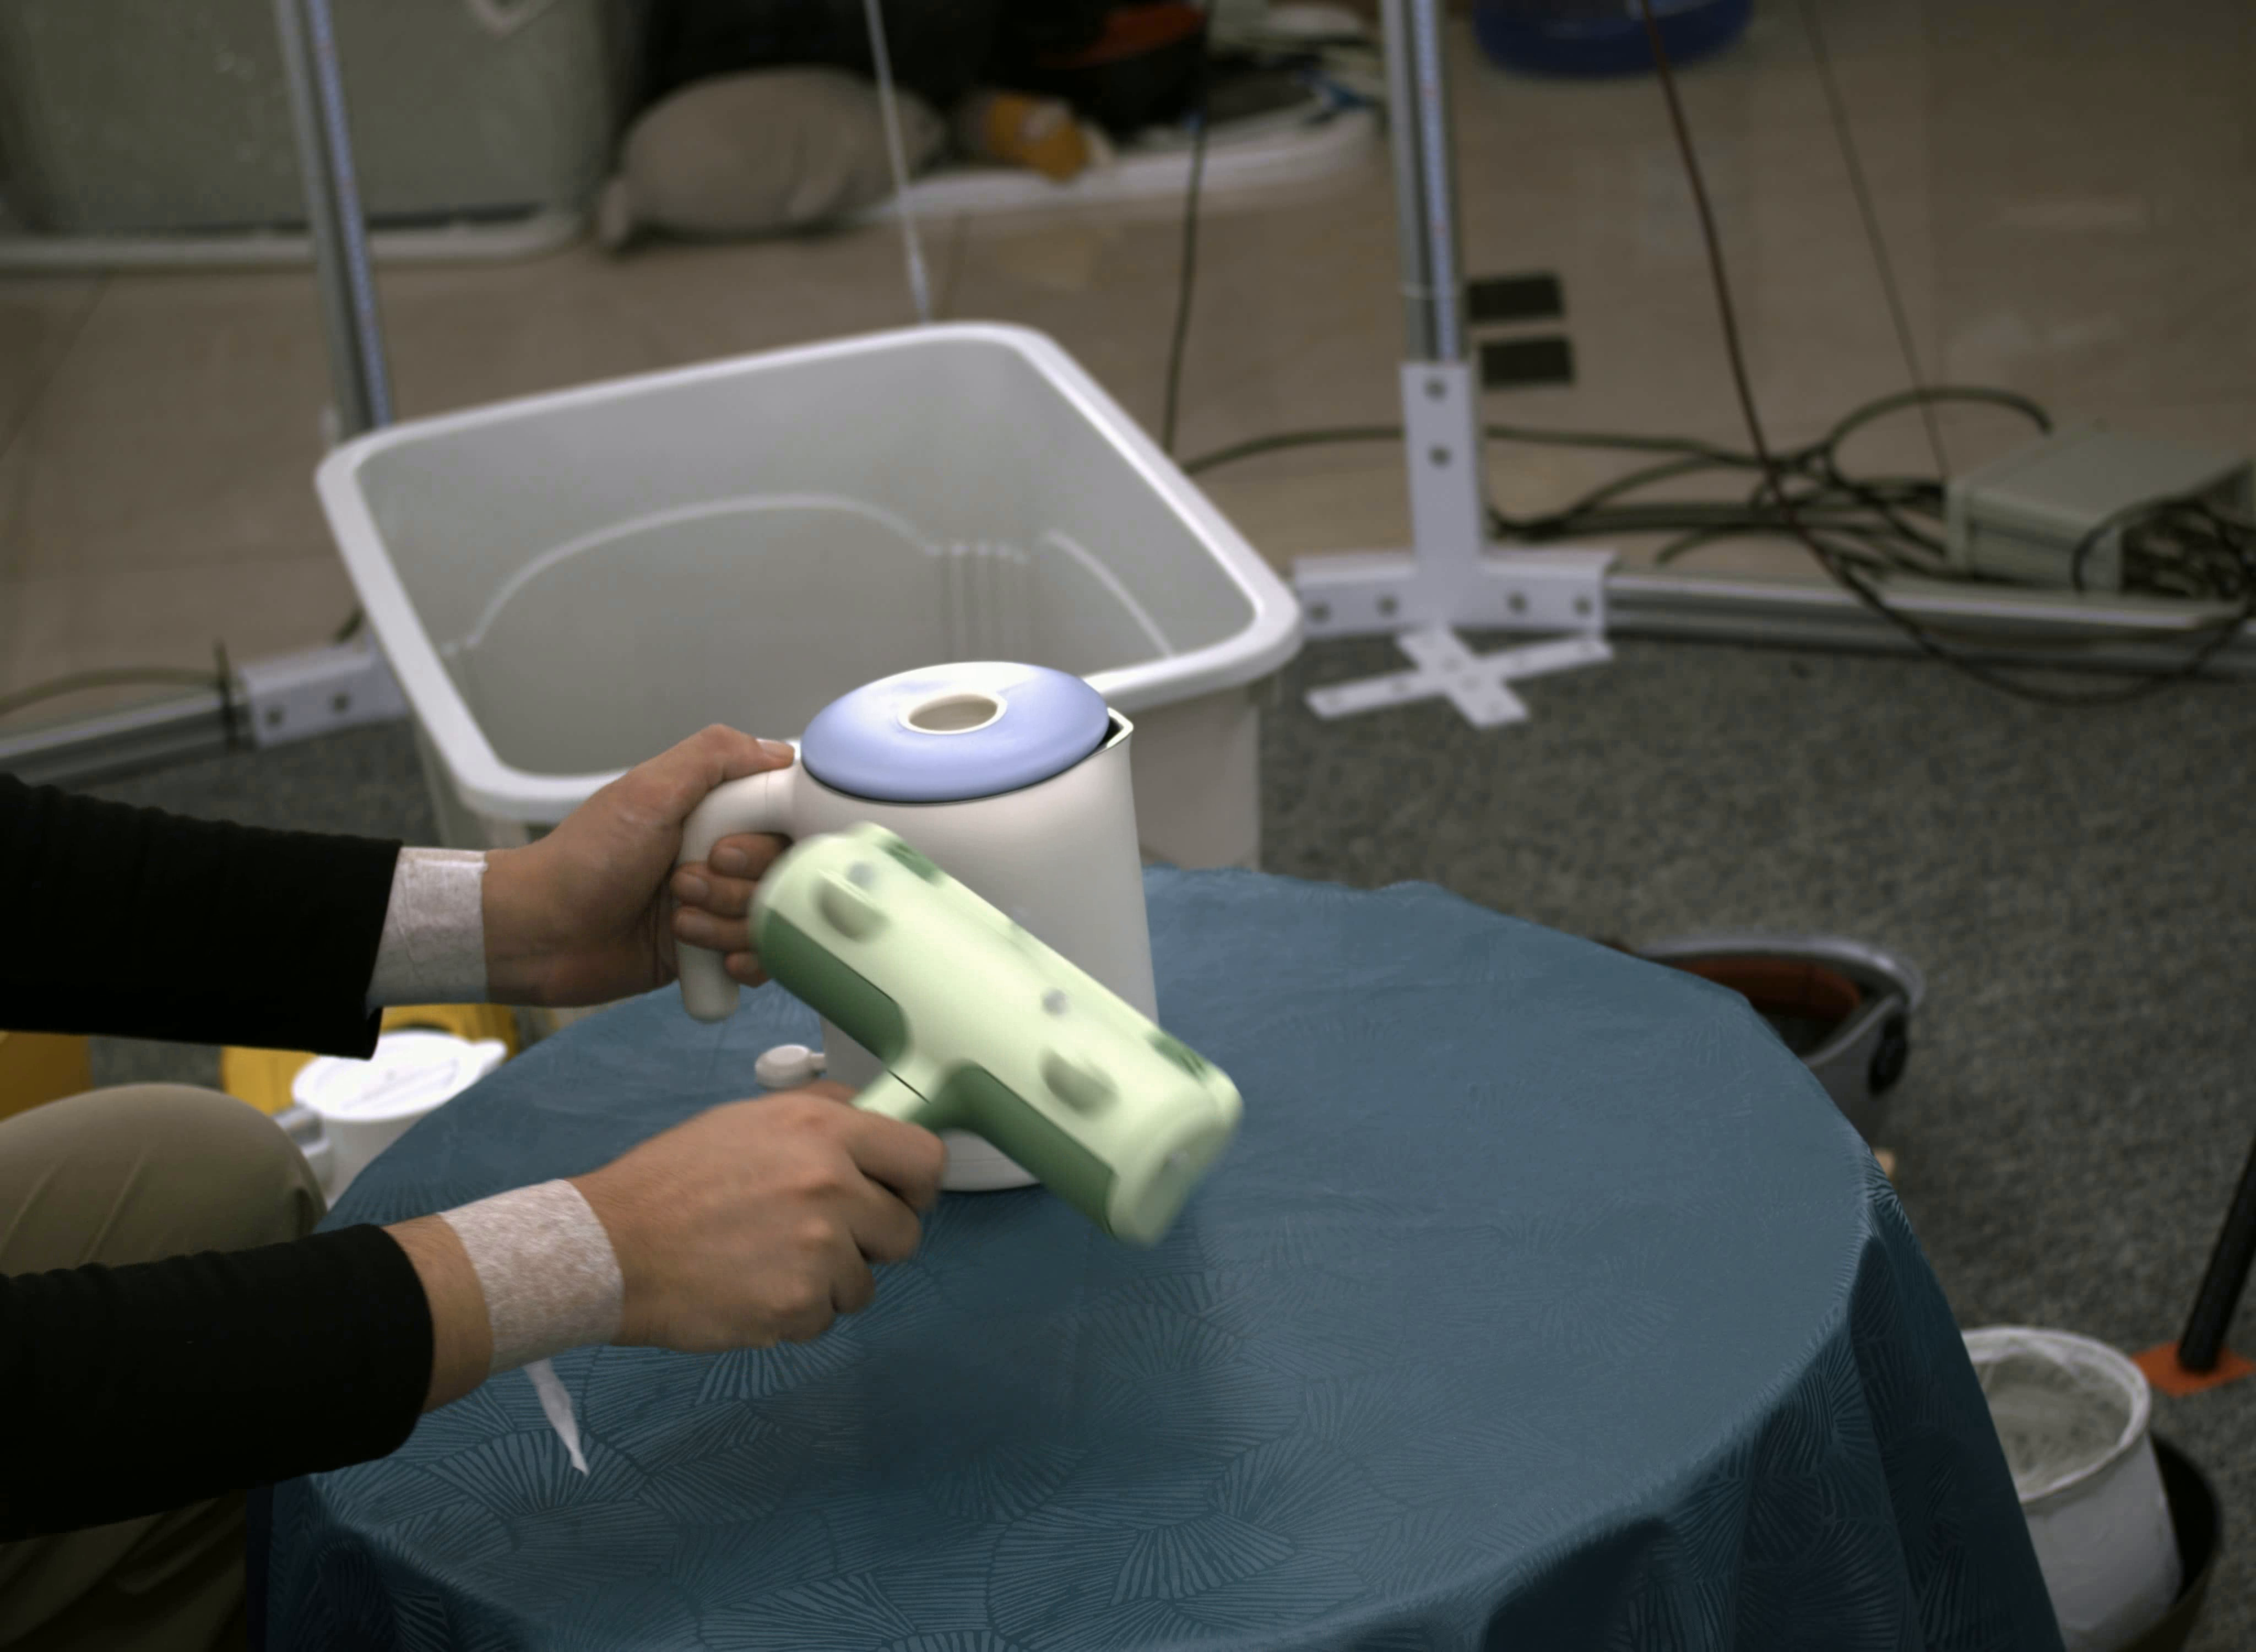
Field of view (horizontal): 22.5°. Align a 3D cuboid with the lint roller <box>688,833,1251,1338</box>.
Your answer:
[{"bbox_3d":[-0.086,0.103,1.975,0.182,0.084,0.196,-38,57,-23],"label":"lint roller"}]

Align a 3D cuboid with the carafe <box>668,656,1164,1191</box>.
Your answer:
[{"bbox_3d":[-0.082,0.039,2.176,0.191,0.185,0.130,-5,25,6],"label":"carafe"}]
